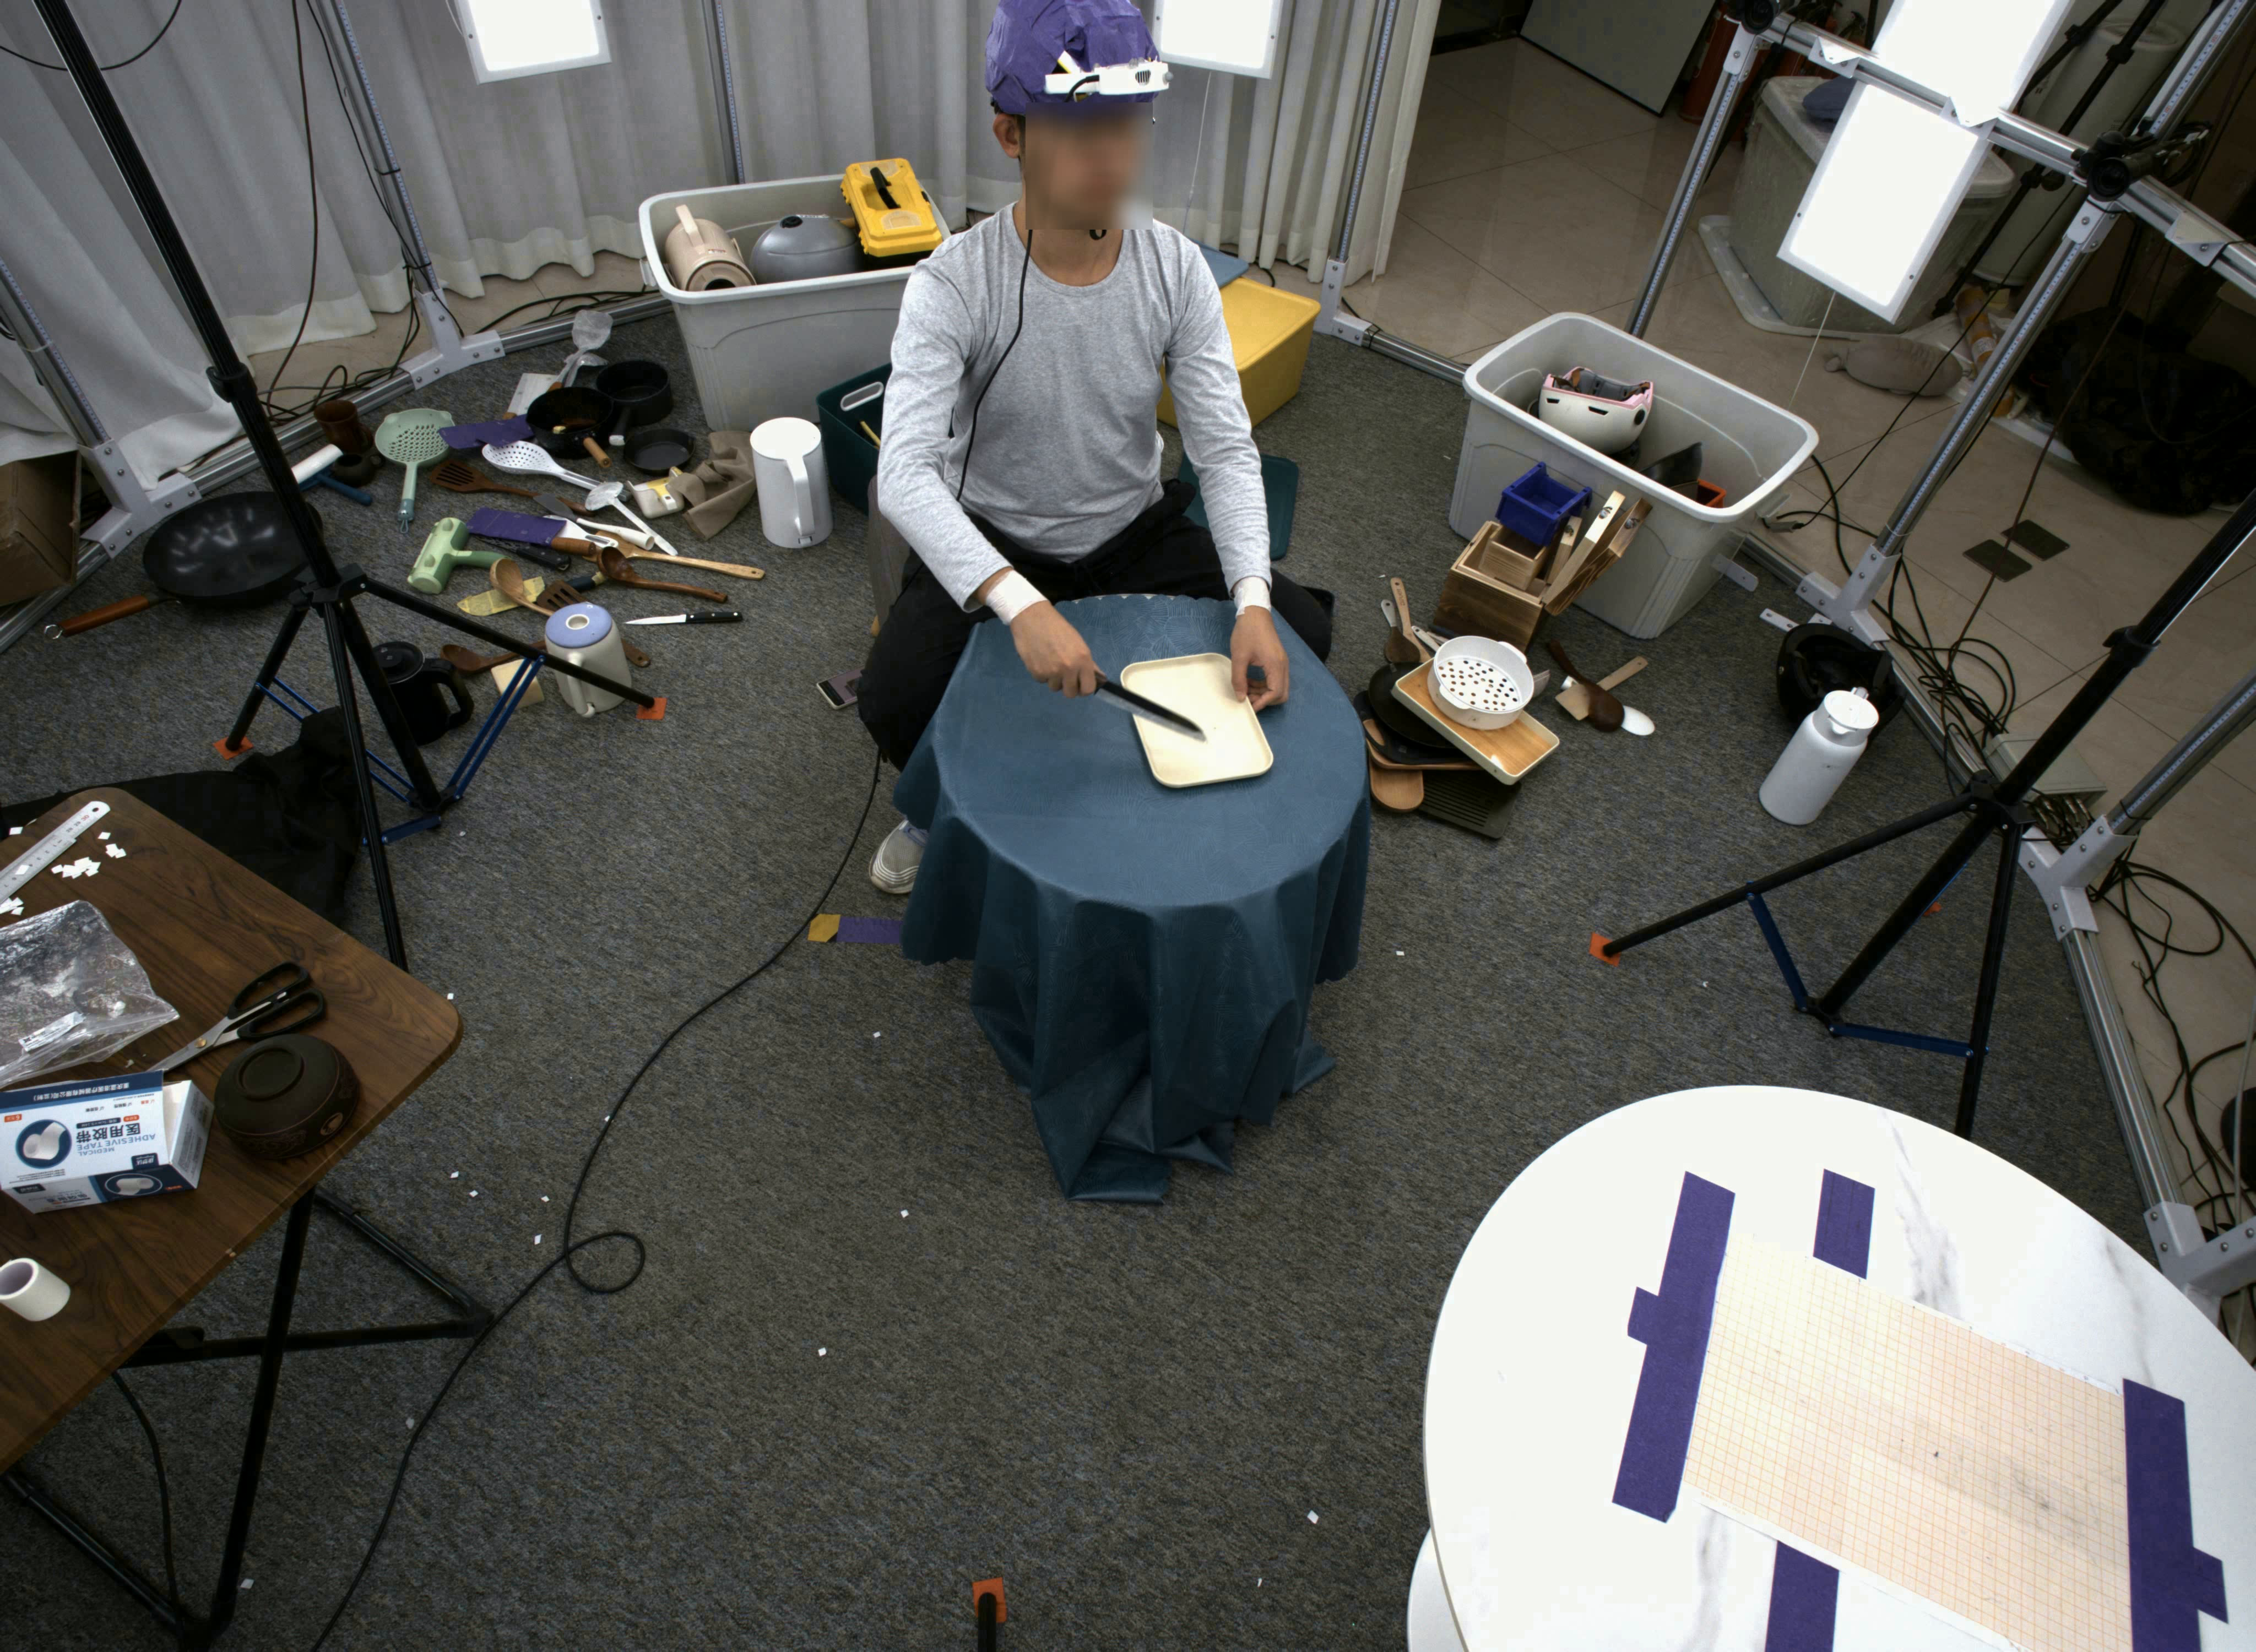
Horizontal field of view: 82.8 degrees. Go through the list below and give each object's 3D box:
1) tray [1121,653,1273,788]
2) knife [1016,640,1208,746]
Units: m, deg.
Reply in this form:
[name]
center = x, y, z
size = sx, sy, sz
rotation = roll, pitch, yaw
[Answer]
[tray]
center = 0.094, -0.149, 1.791
size = 0.171, 0.017, 0.245
rotation = -8, 50, -11
[knife]
center = -0.019, -0.173, 1.697
size = 0.288, 0.049, 0.020
rotation = 27, 61, -8
